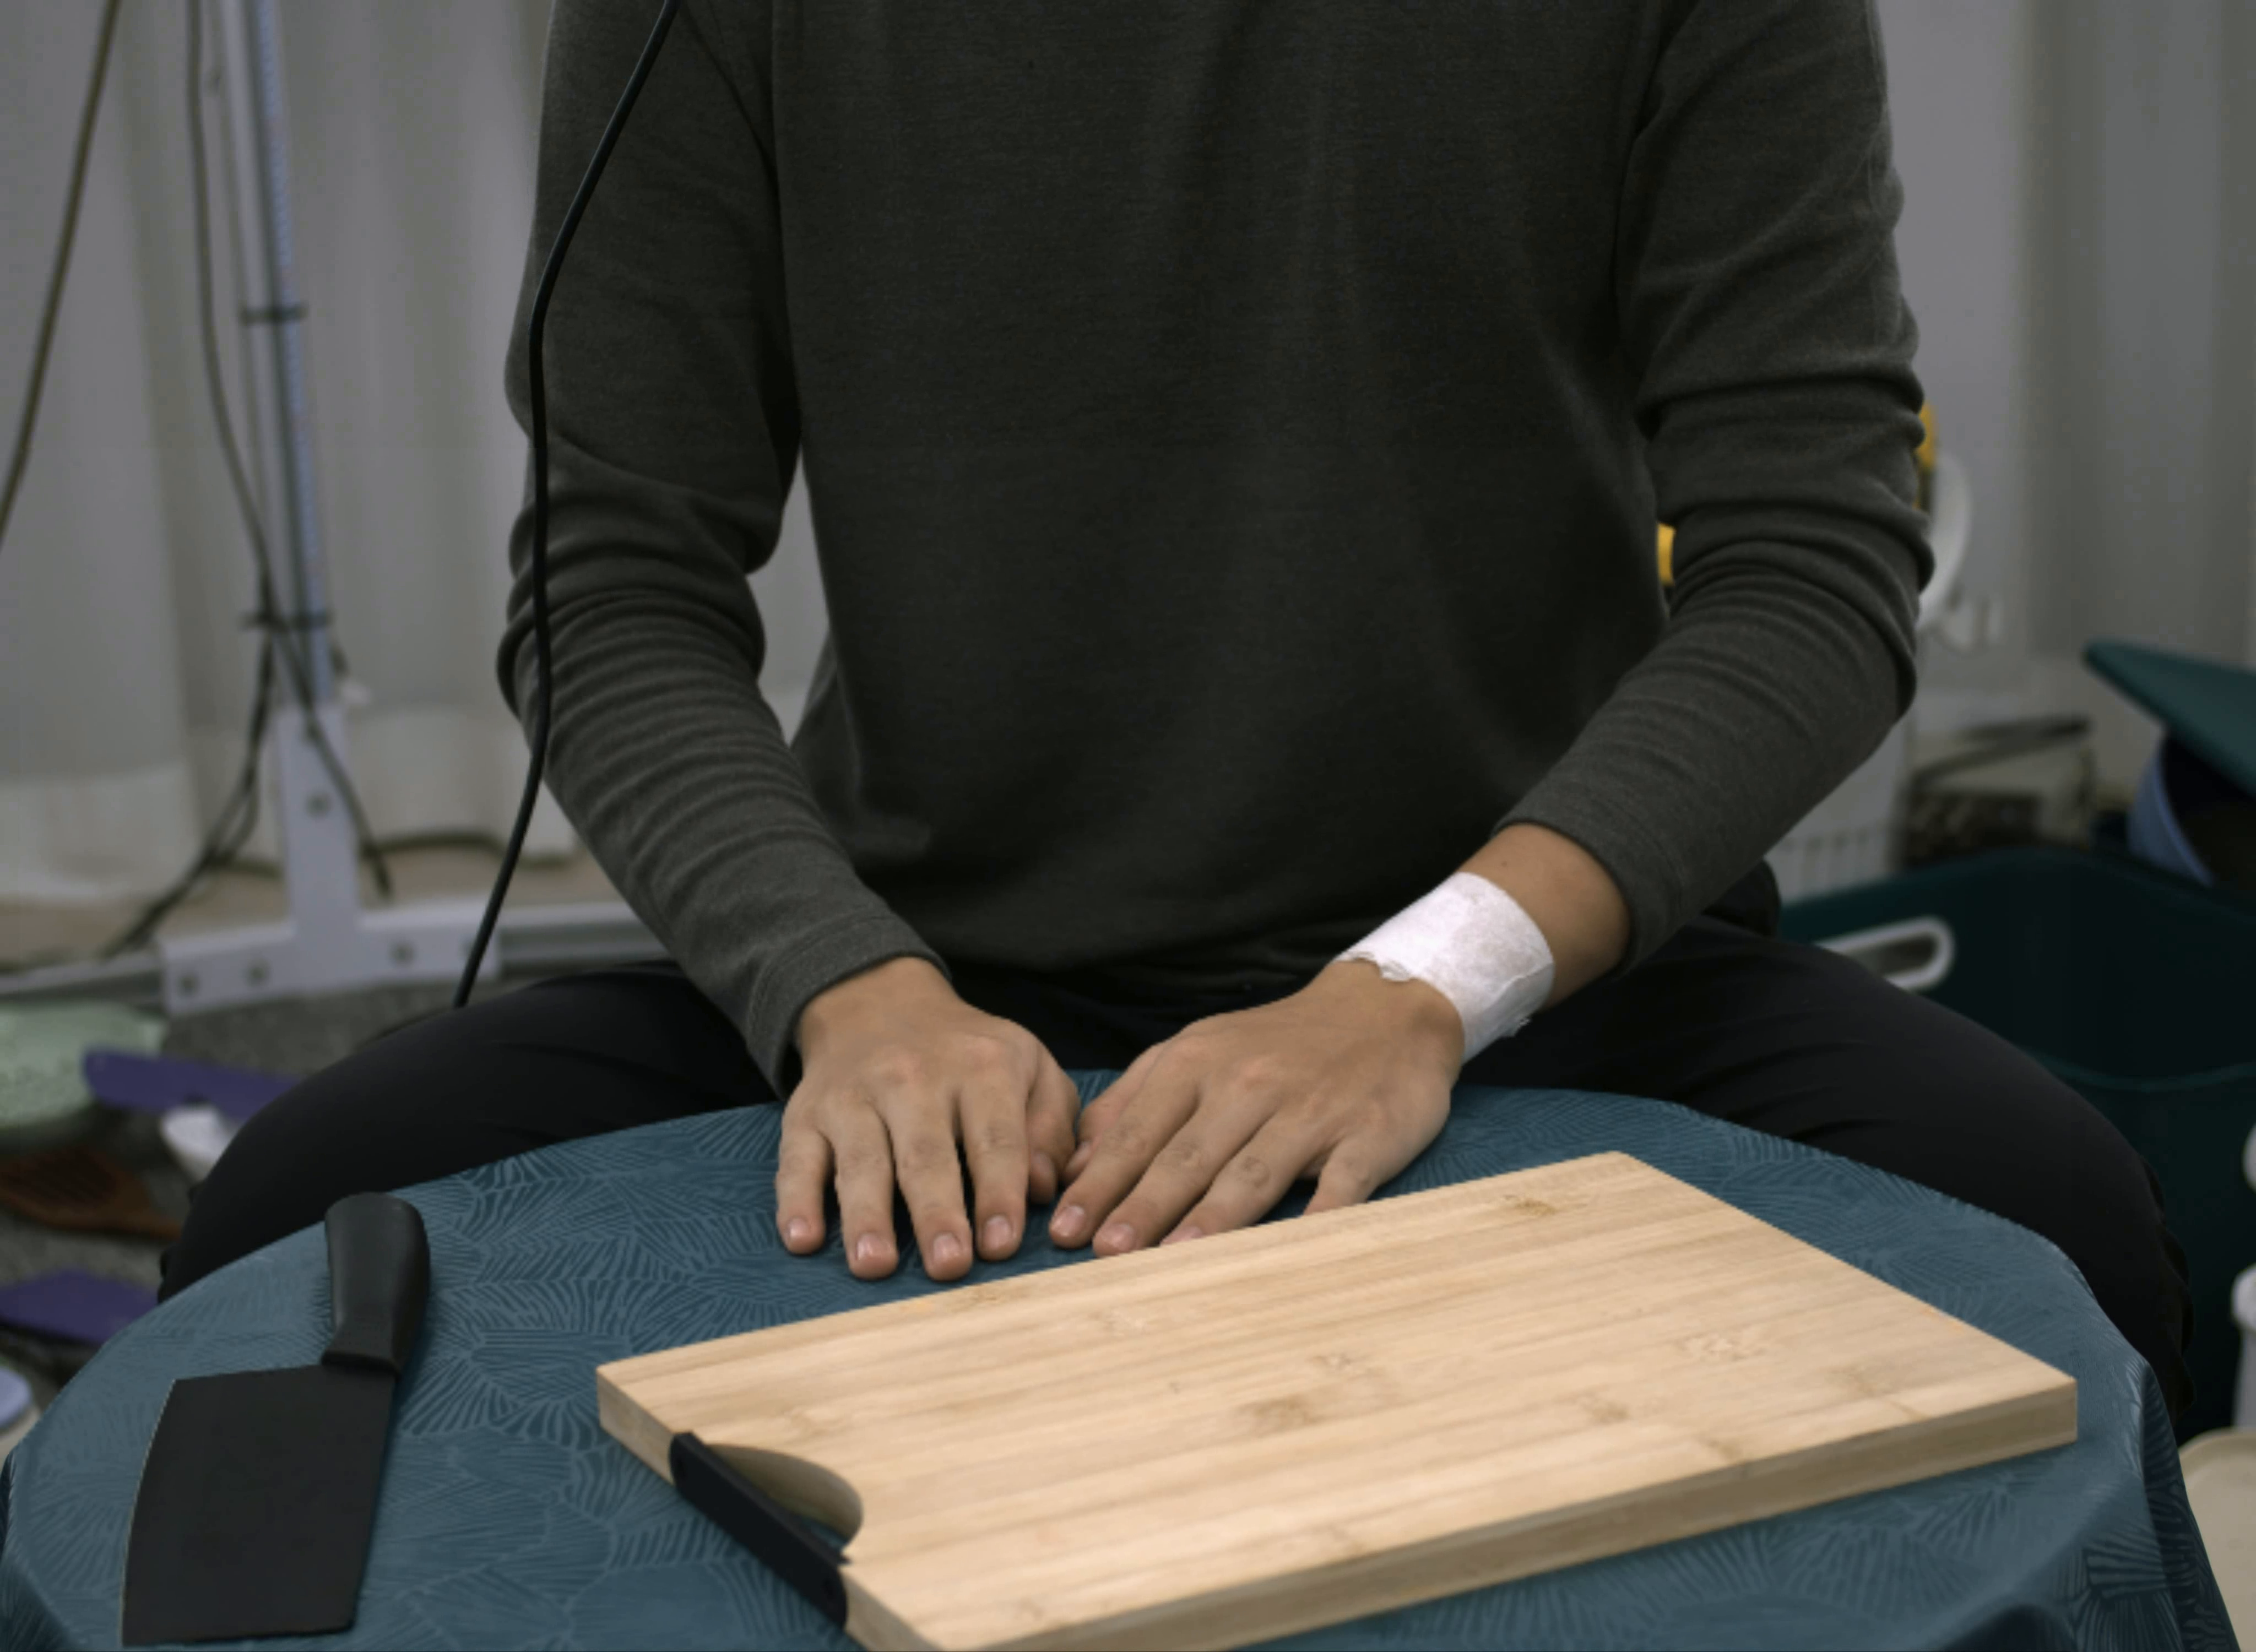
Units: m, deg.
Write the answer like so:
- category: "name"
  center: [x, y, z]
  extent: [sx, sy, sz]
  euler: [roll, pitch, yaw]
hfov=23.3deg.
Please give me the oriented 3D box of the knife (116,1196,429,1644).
- category: "knife"
  center: [-0.236, 0.165, 1.545]
  extent: [0.080, 0.021, 0.304]
  euler: [-3, 16, 2]

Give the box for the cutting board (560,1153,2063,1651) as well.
- category: "cutting board"
  center: [0.049, 0.161, 1.504]
  extent: [0.347, 0.023, 0.252]
  euler: [-10, 16, -26]
